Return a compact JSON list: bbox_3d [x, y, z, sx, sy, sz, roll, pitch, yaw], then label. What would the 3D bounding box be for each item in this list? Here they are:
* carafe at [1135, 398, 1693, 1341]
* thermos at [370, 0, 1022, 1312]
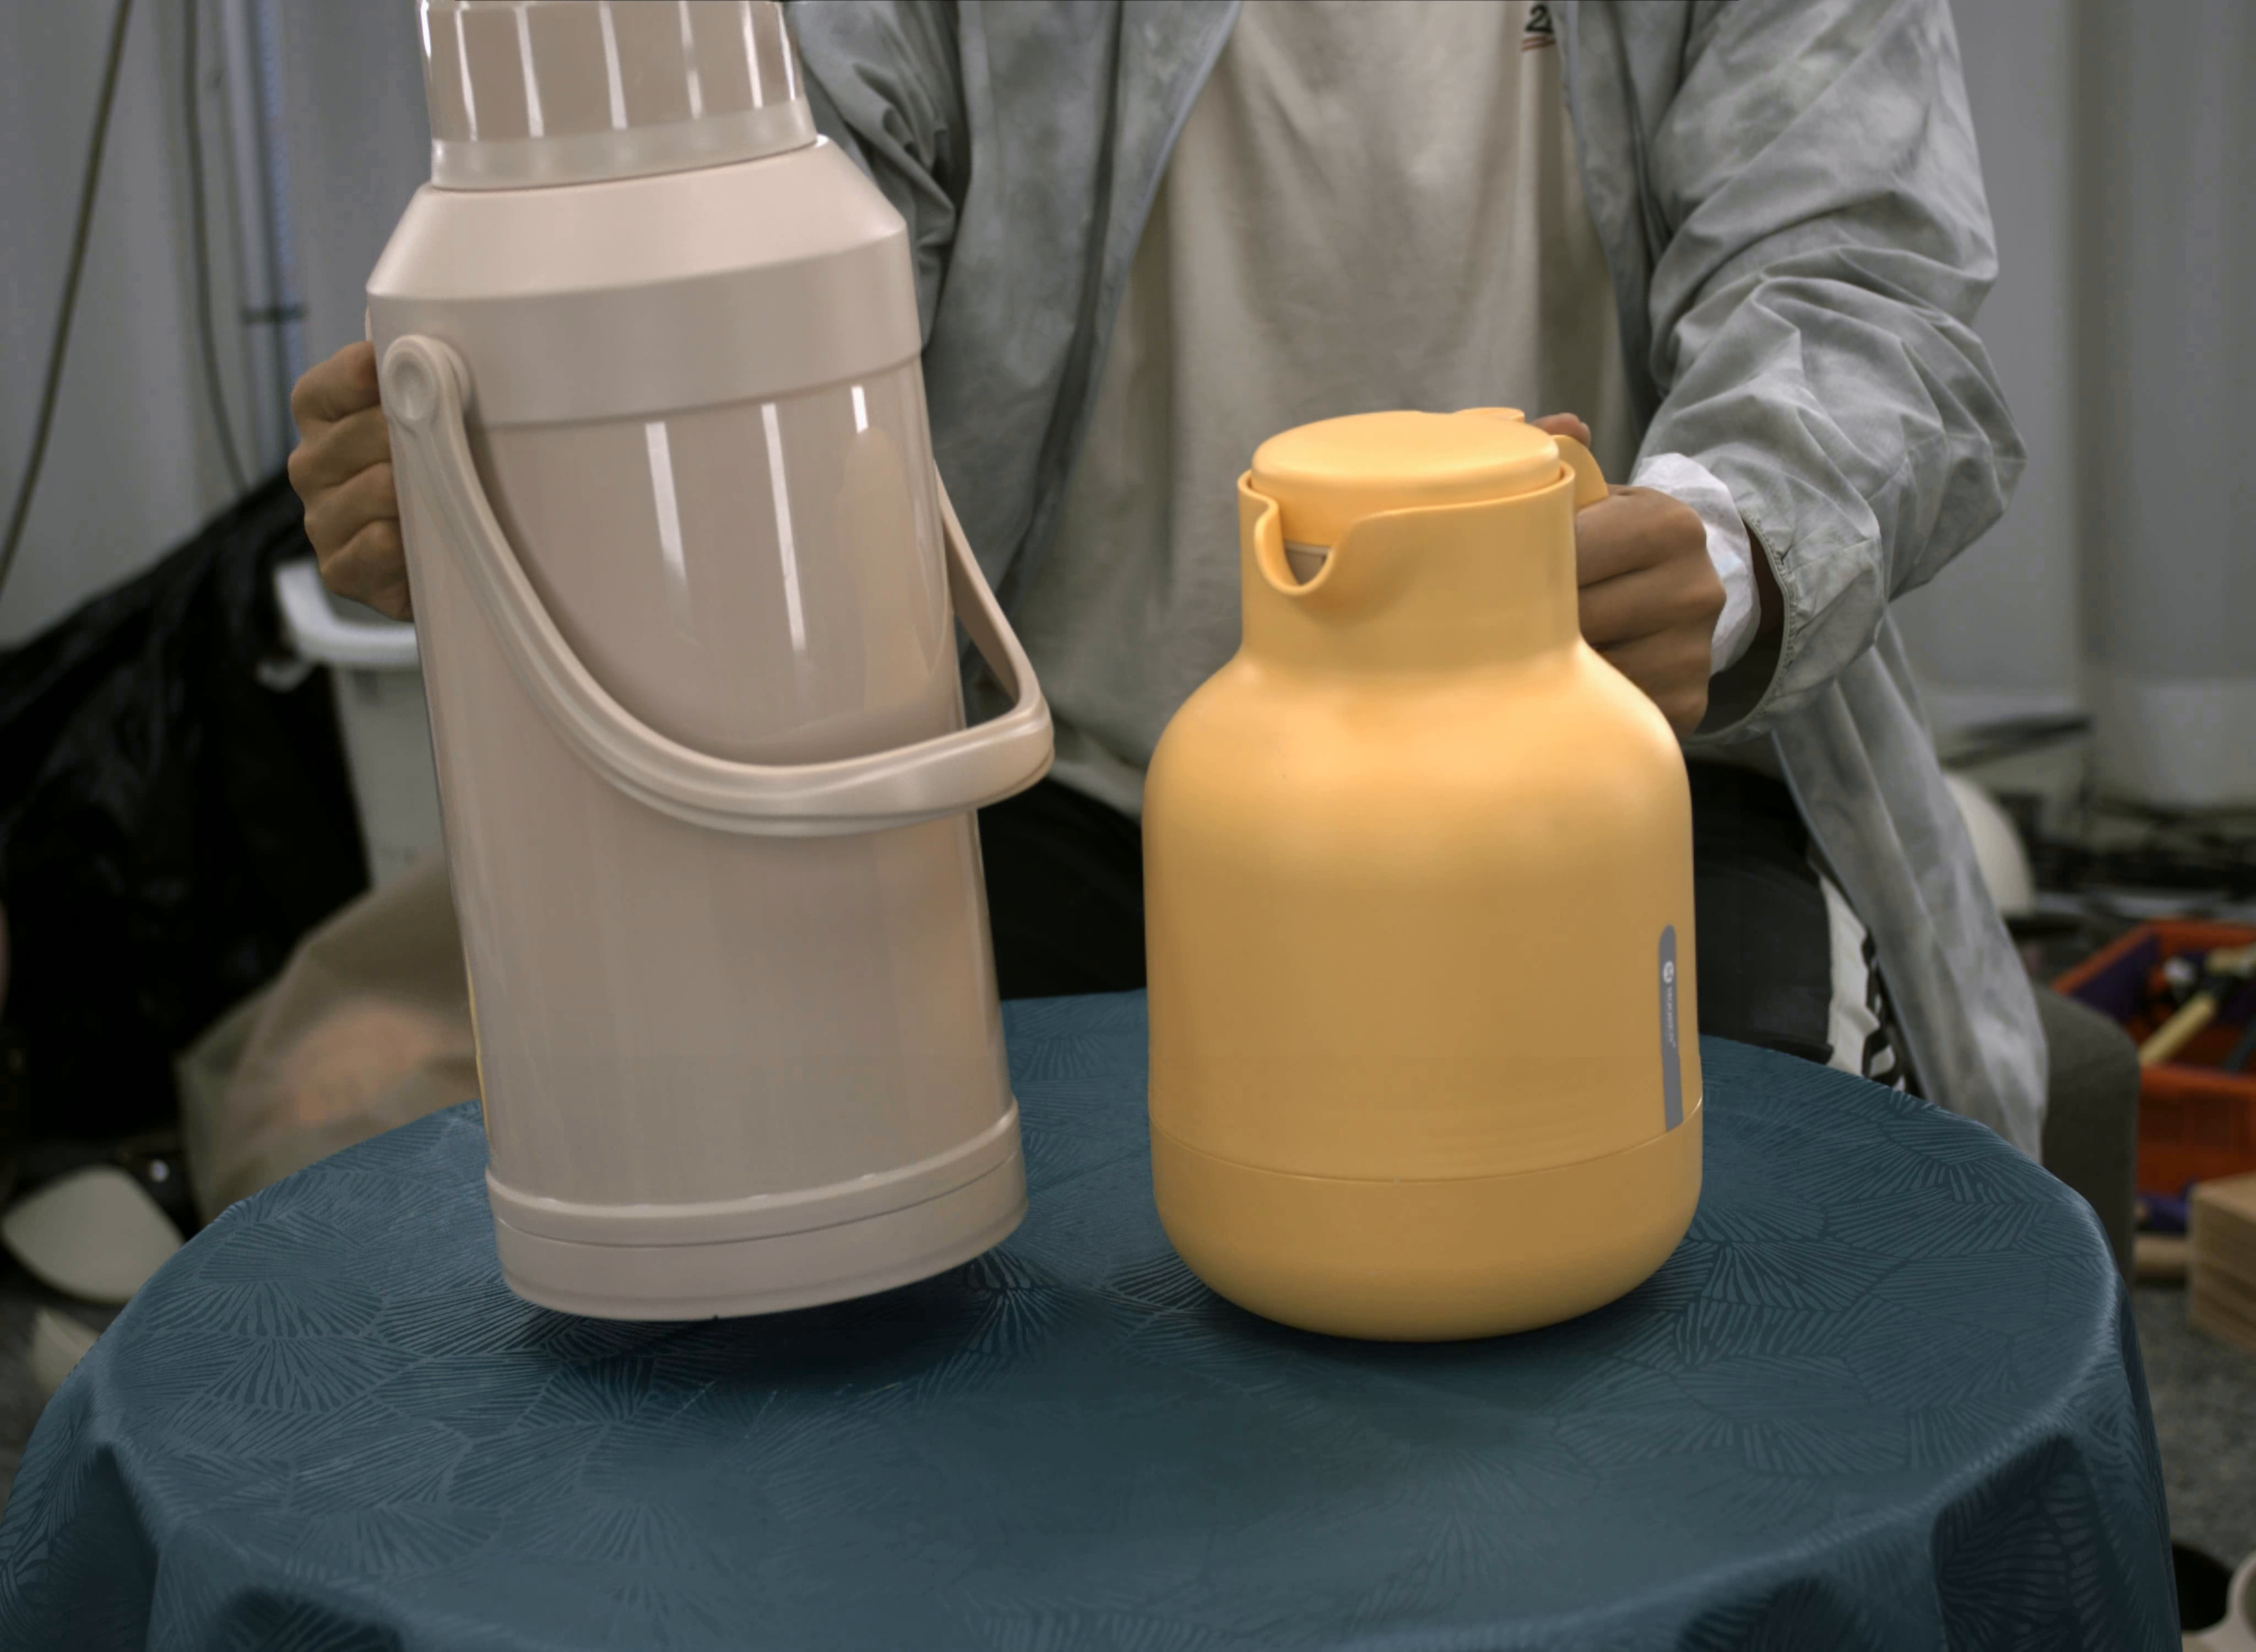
[{"bbox_3d":[0.093,0.005,1.611,0.164,0.259,0.202,8,19,30],"label":"carafe"},{"bbox_3d":[-0.139,-0.072,1.606,0.208,0.405,0.175,5,17,45],"label":"thermos"}]
